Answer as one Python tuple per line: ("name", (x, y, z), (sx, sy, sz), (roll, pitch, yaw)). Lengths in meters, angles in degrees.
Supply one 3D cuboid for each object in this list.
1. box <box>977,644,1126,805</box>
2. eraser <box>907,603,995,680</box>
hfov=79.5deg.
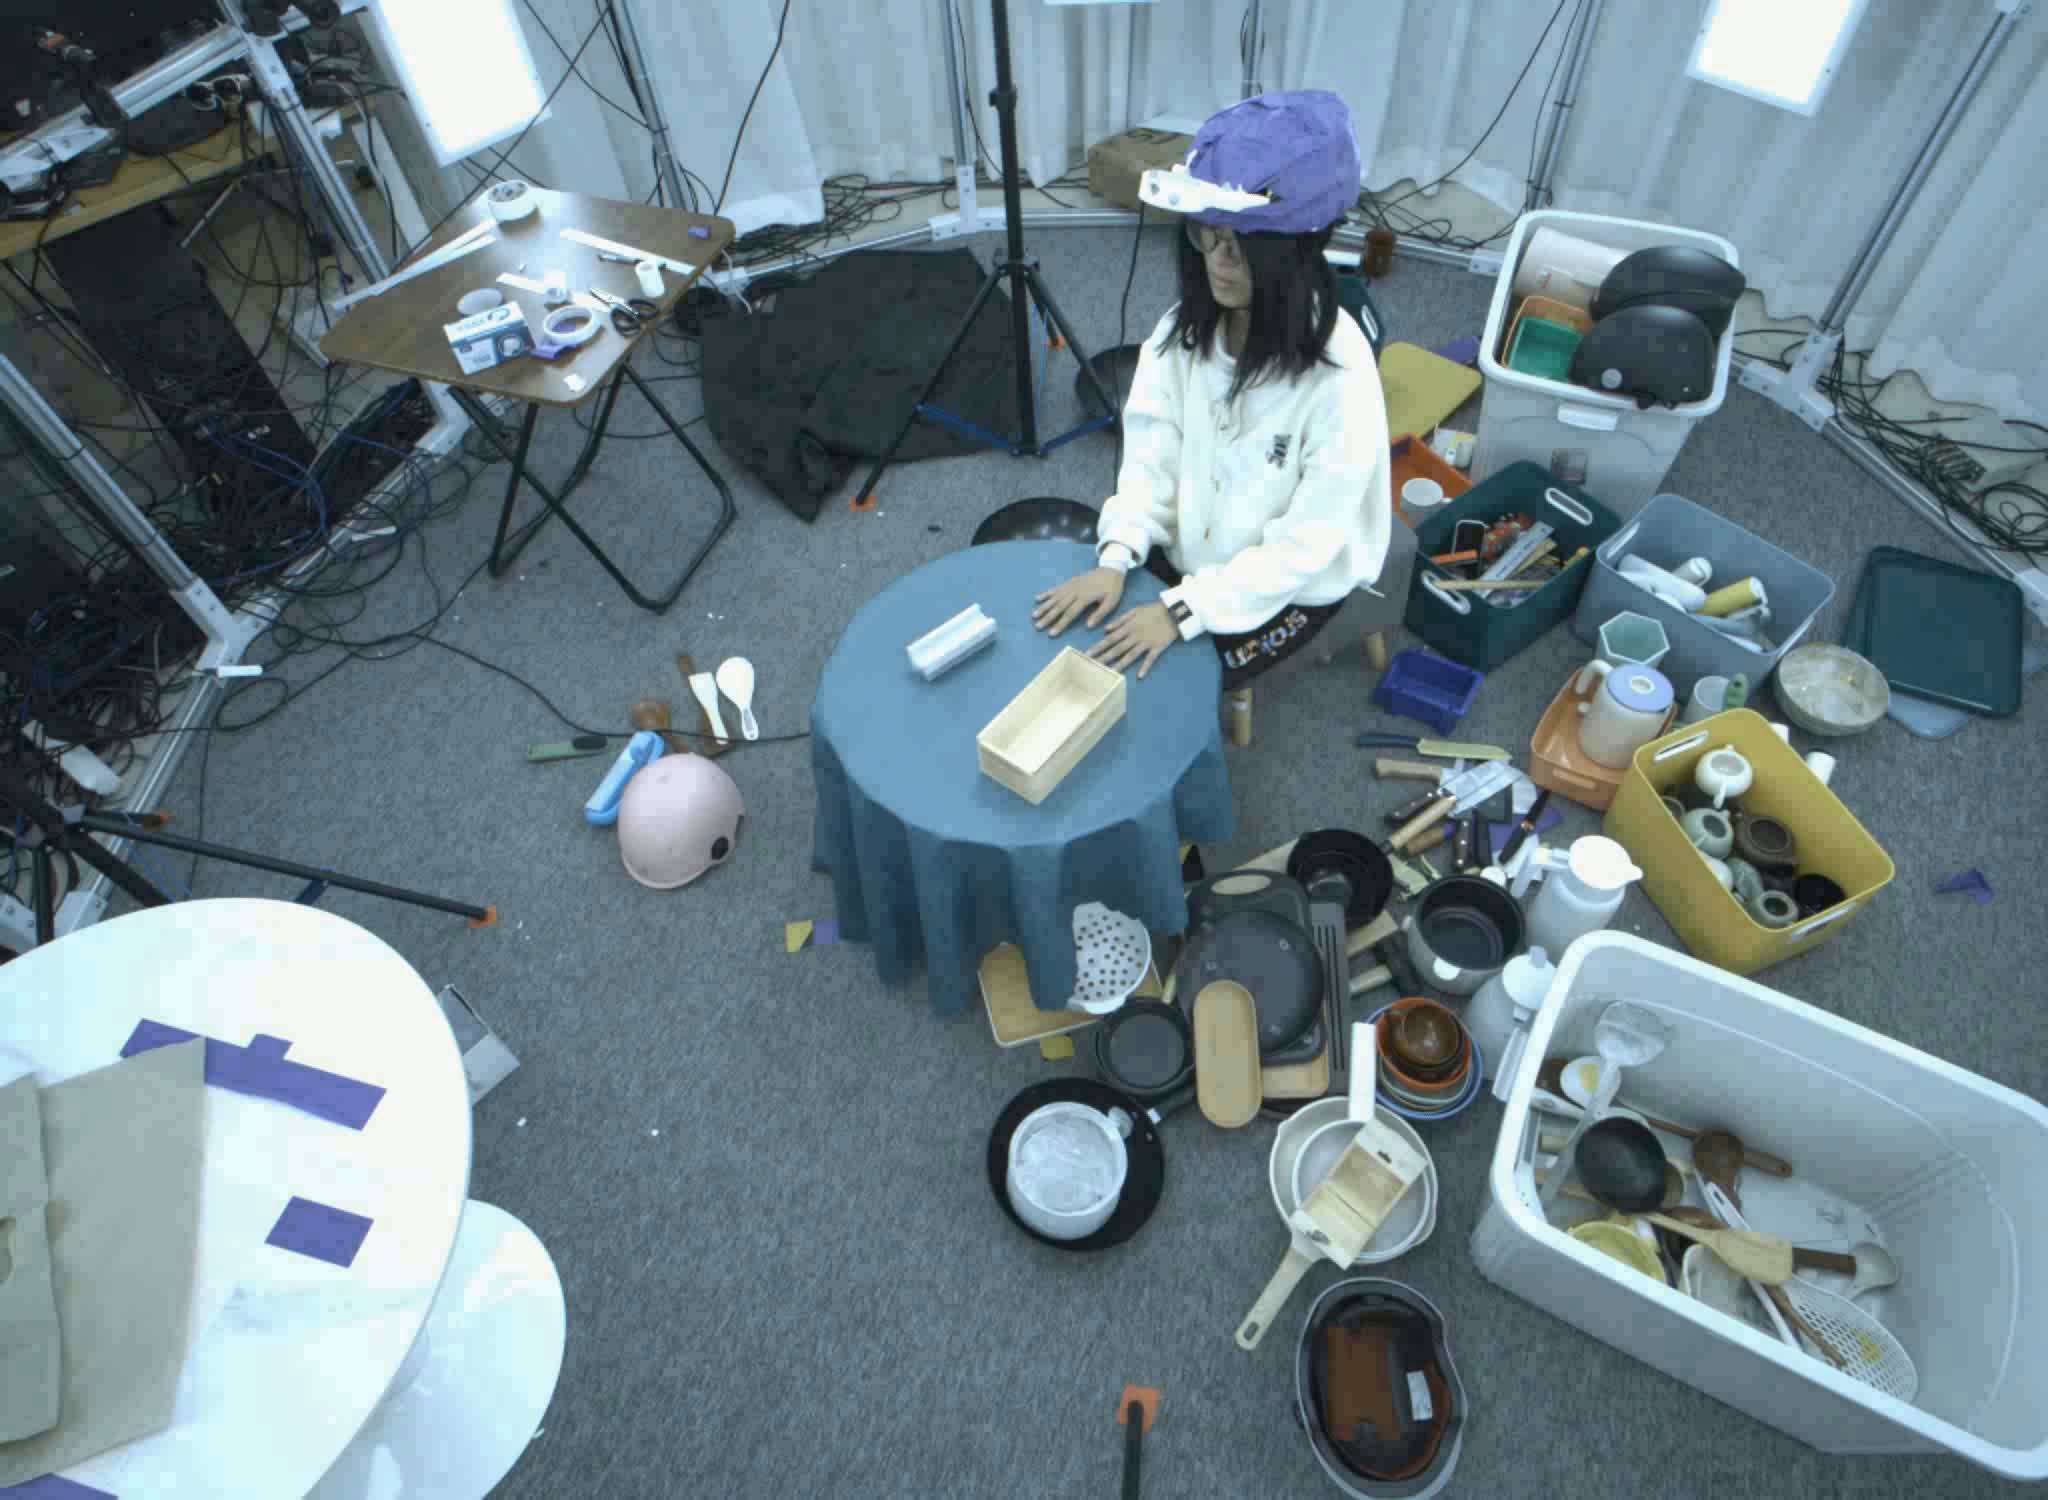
("box", (0.043, -0.039, 1.765), (0.106, 0.081, 0.212), (31, 62, 22))
("eraser", (-0.111, -0.166, 1.880), (0.135, 0.047, 0.049), (-37, 59, -20))
